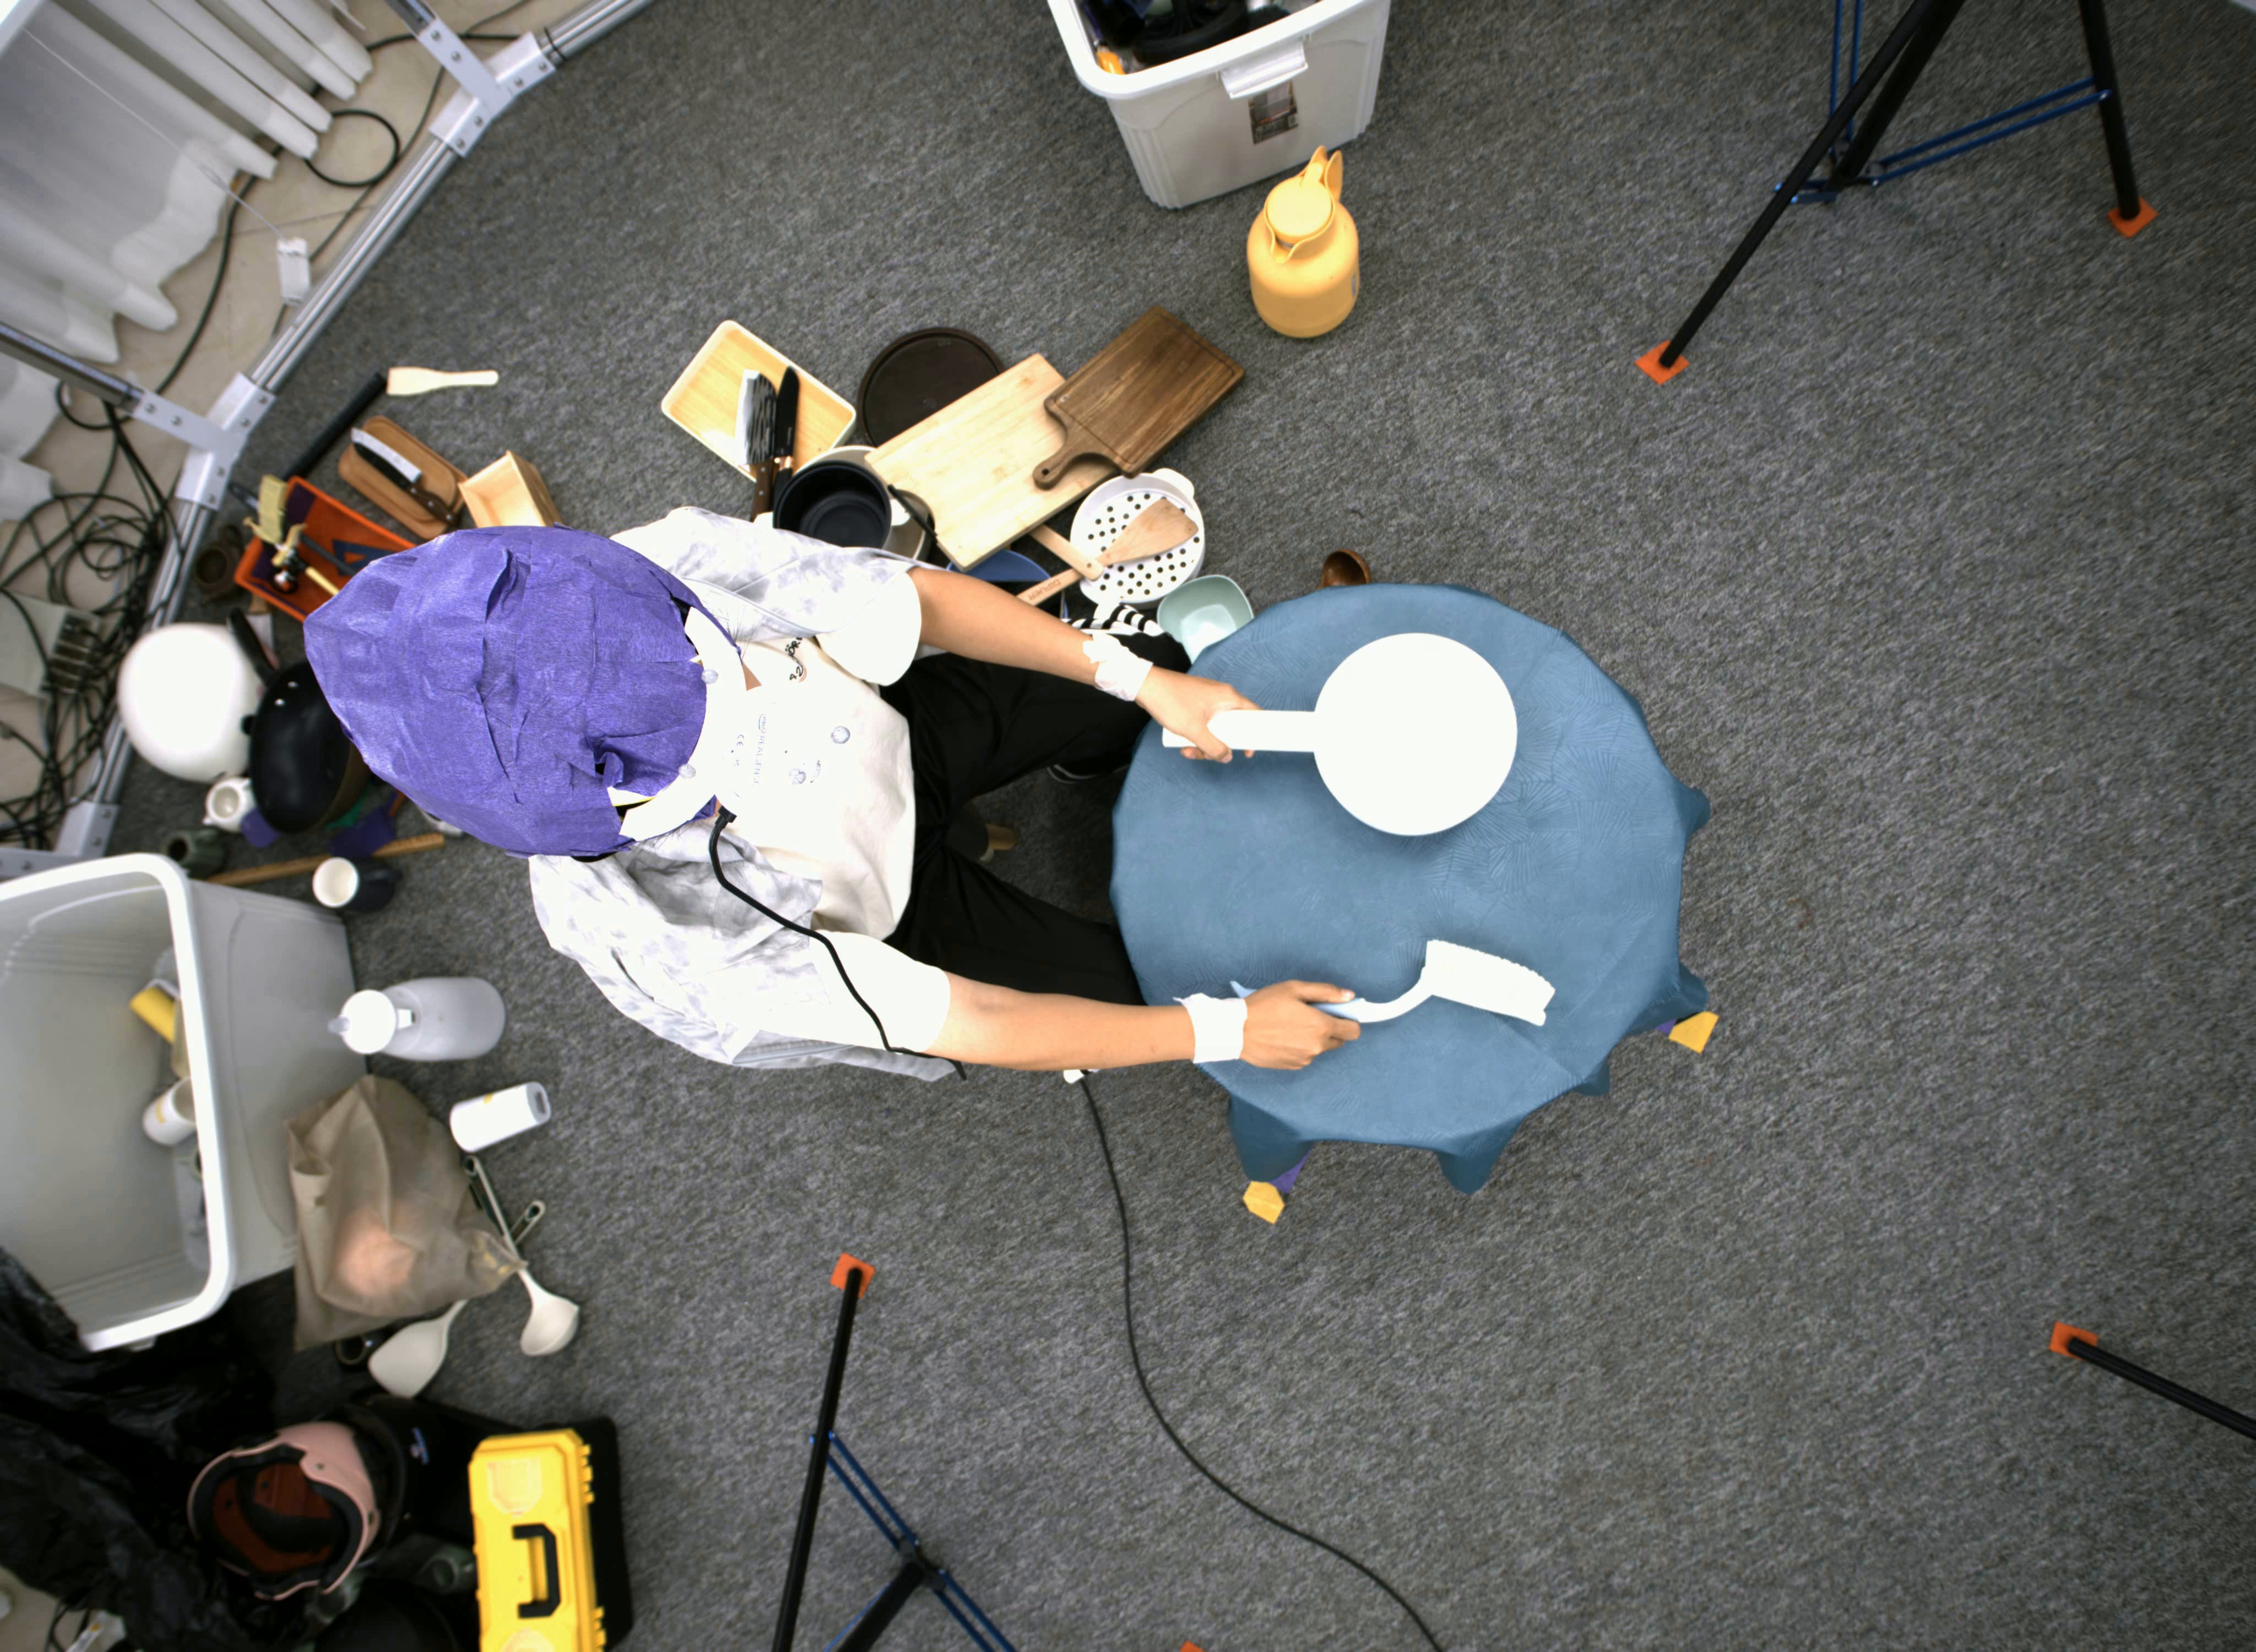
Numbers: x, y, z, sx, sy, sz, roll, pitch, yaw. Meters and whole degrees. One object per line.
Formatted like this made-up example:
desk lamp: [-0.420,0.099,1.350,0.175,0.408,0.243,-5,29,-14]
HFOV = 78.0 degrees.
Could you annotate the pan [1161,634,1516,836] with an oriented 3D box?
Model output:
pan: [0.216,-0.093,1.428,0.356,0.102,0.200,2,87,11]

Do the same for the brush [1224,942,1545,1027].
brush: [0.261,0.151,1.421,0.327,0.082,0.085,3,123,15]
